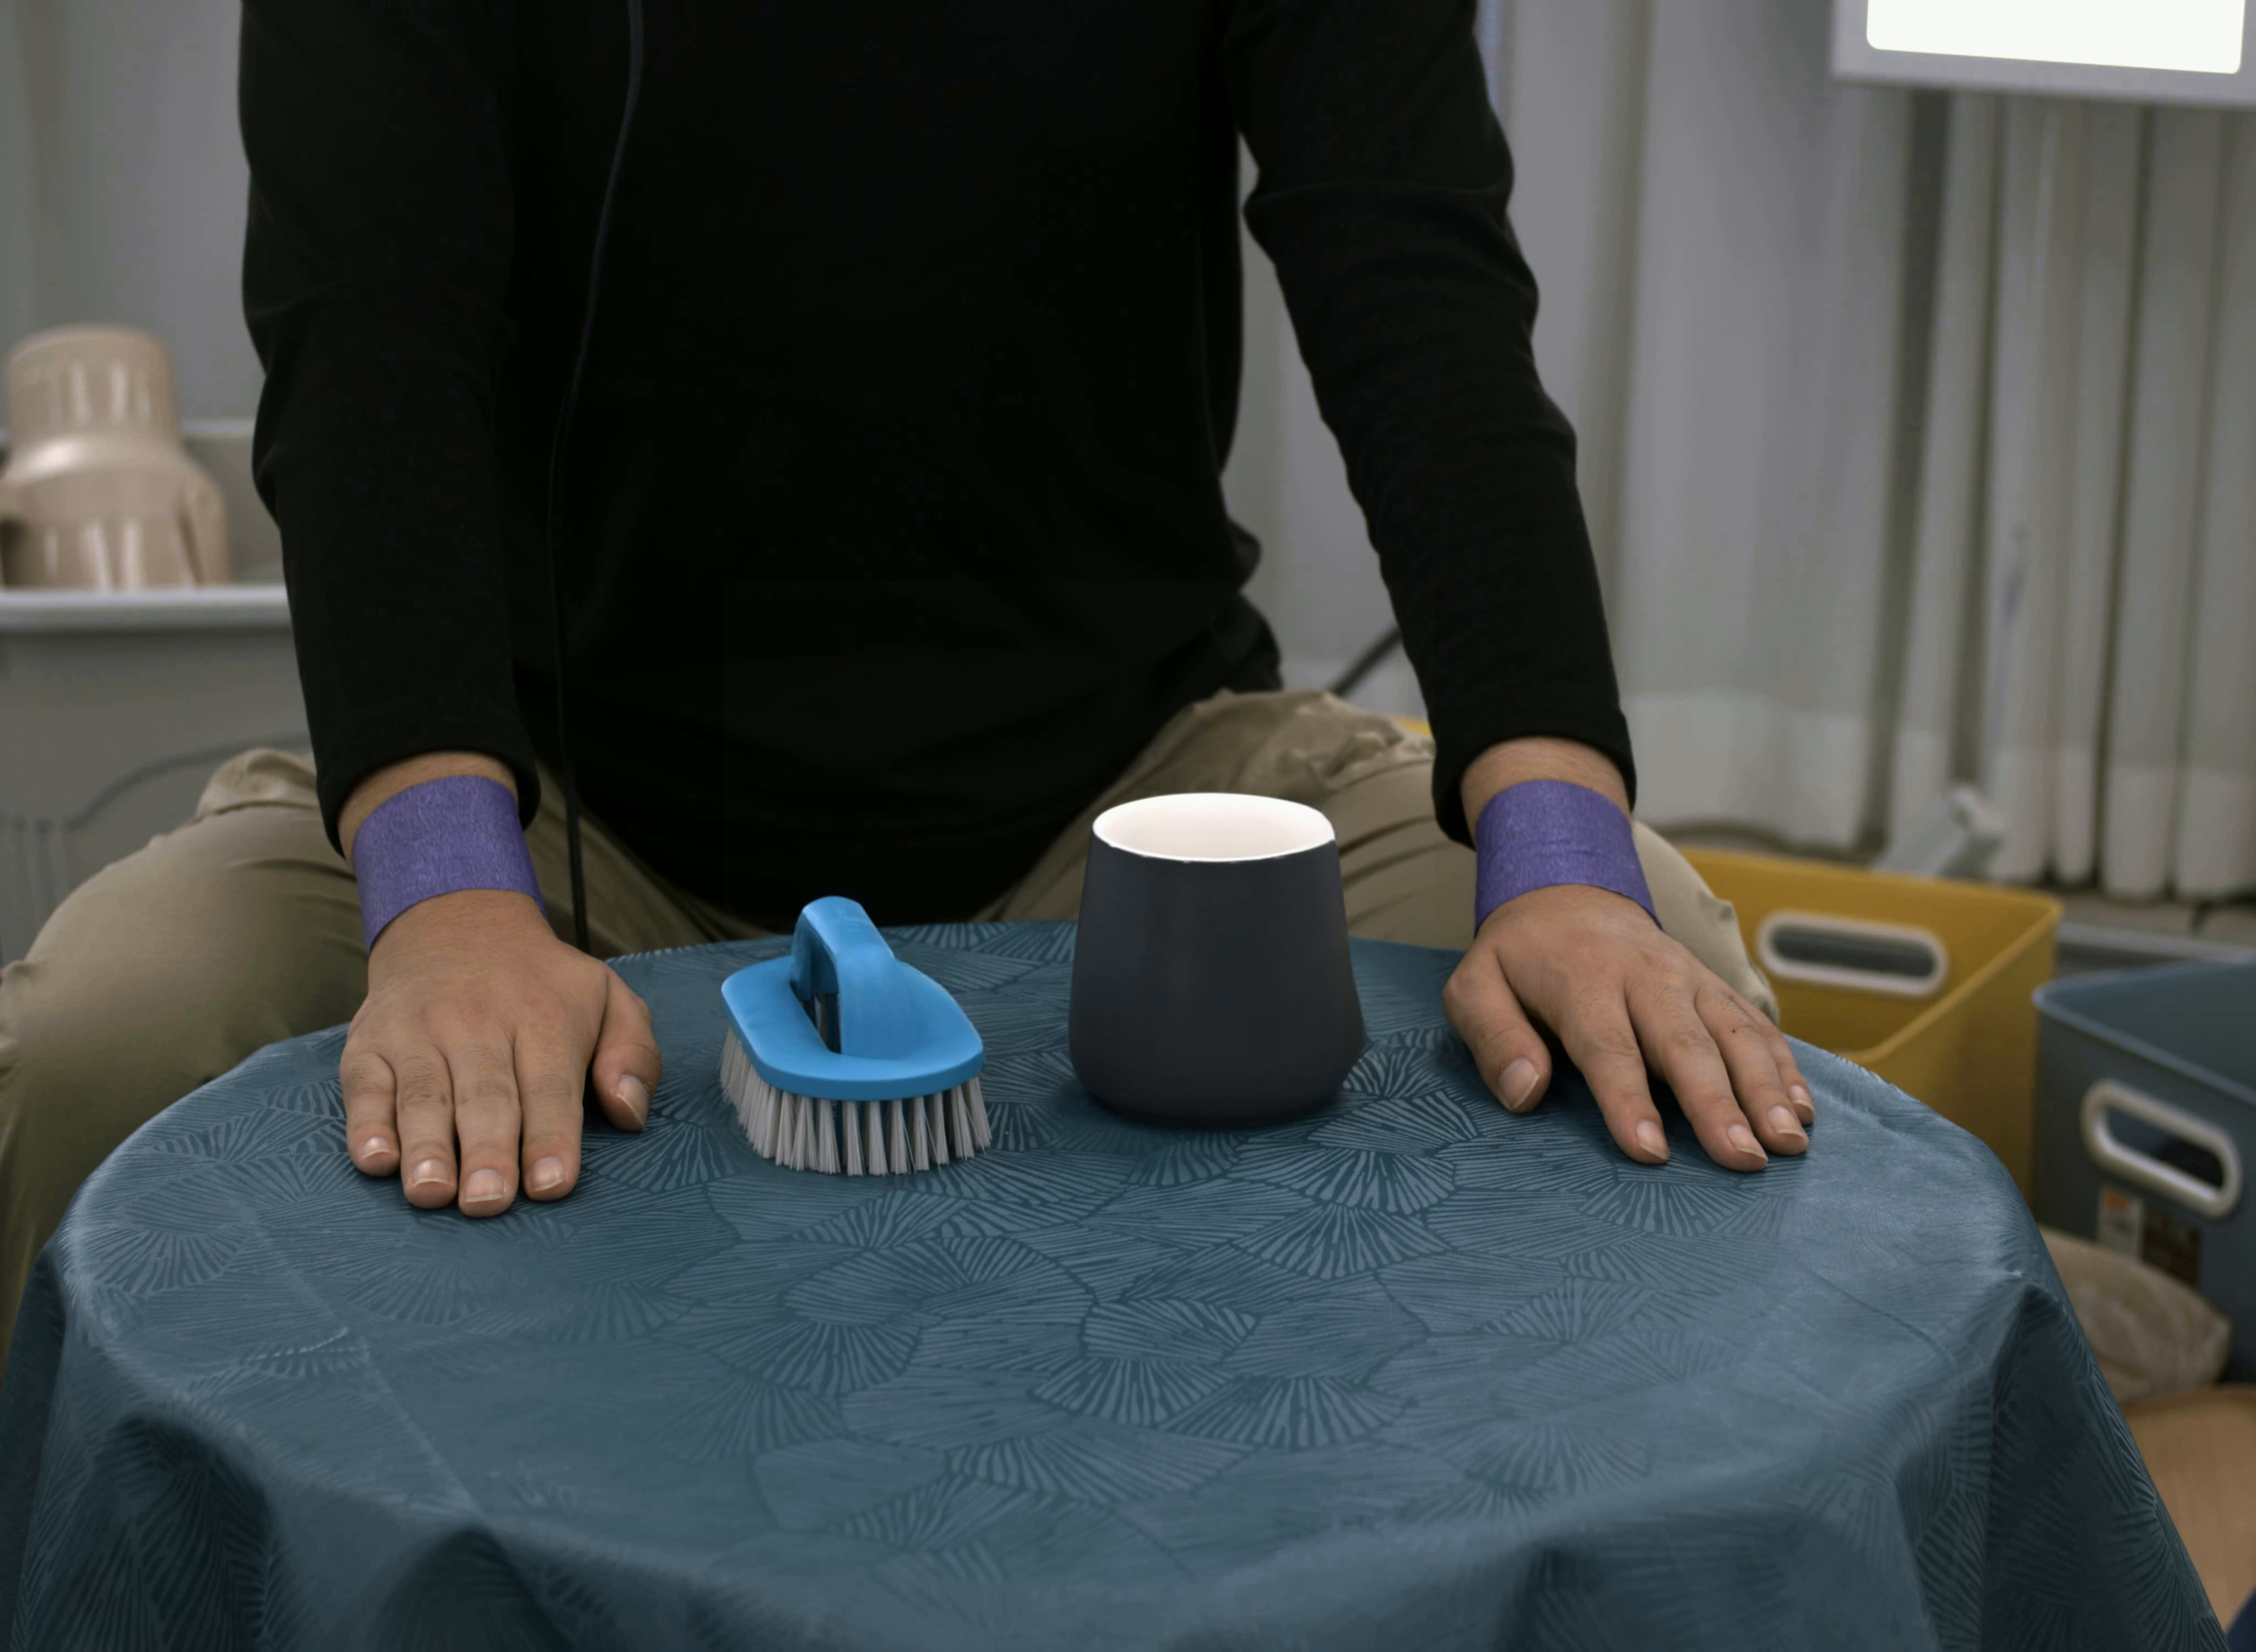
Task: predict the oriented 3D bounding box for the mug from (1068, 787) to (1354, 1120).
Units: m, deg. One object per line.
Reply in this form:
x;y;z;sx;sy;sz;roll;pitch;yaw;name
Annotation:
0.026;0.037;1.717;0.093;0.090;0.122;-1;17;-7;mug

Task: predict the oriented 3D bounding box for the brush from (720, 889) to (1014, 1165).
-0.087;0.058;1.690;0.084;0.064;0.140;-8;16;-11;brush
